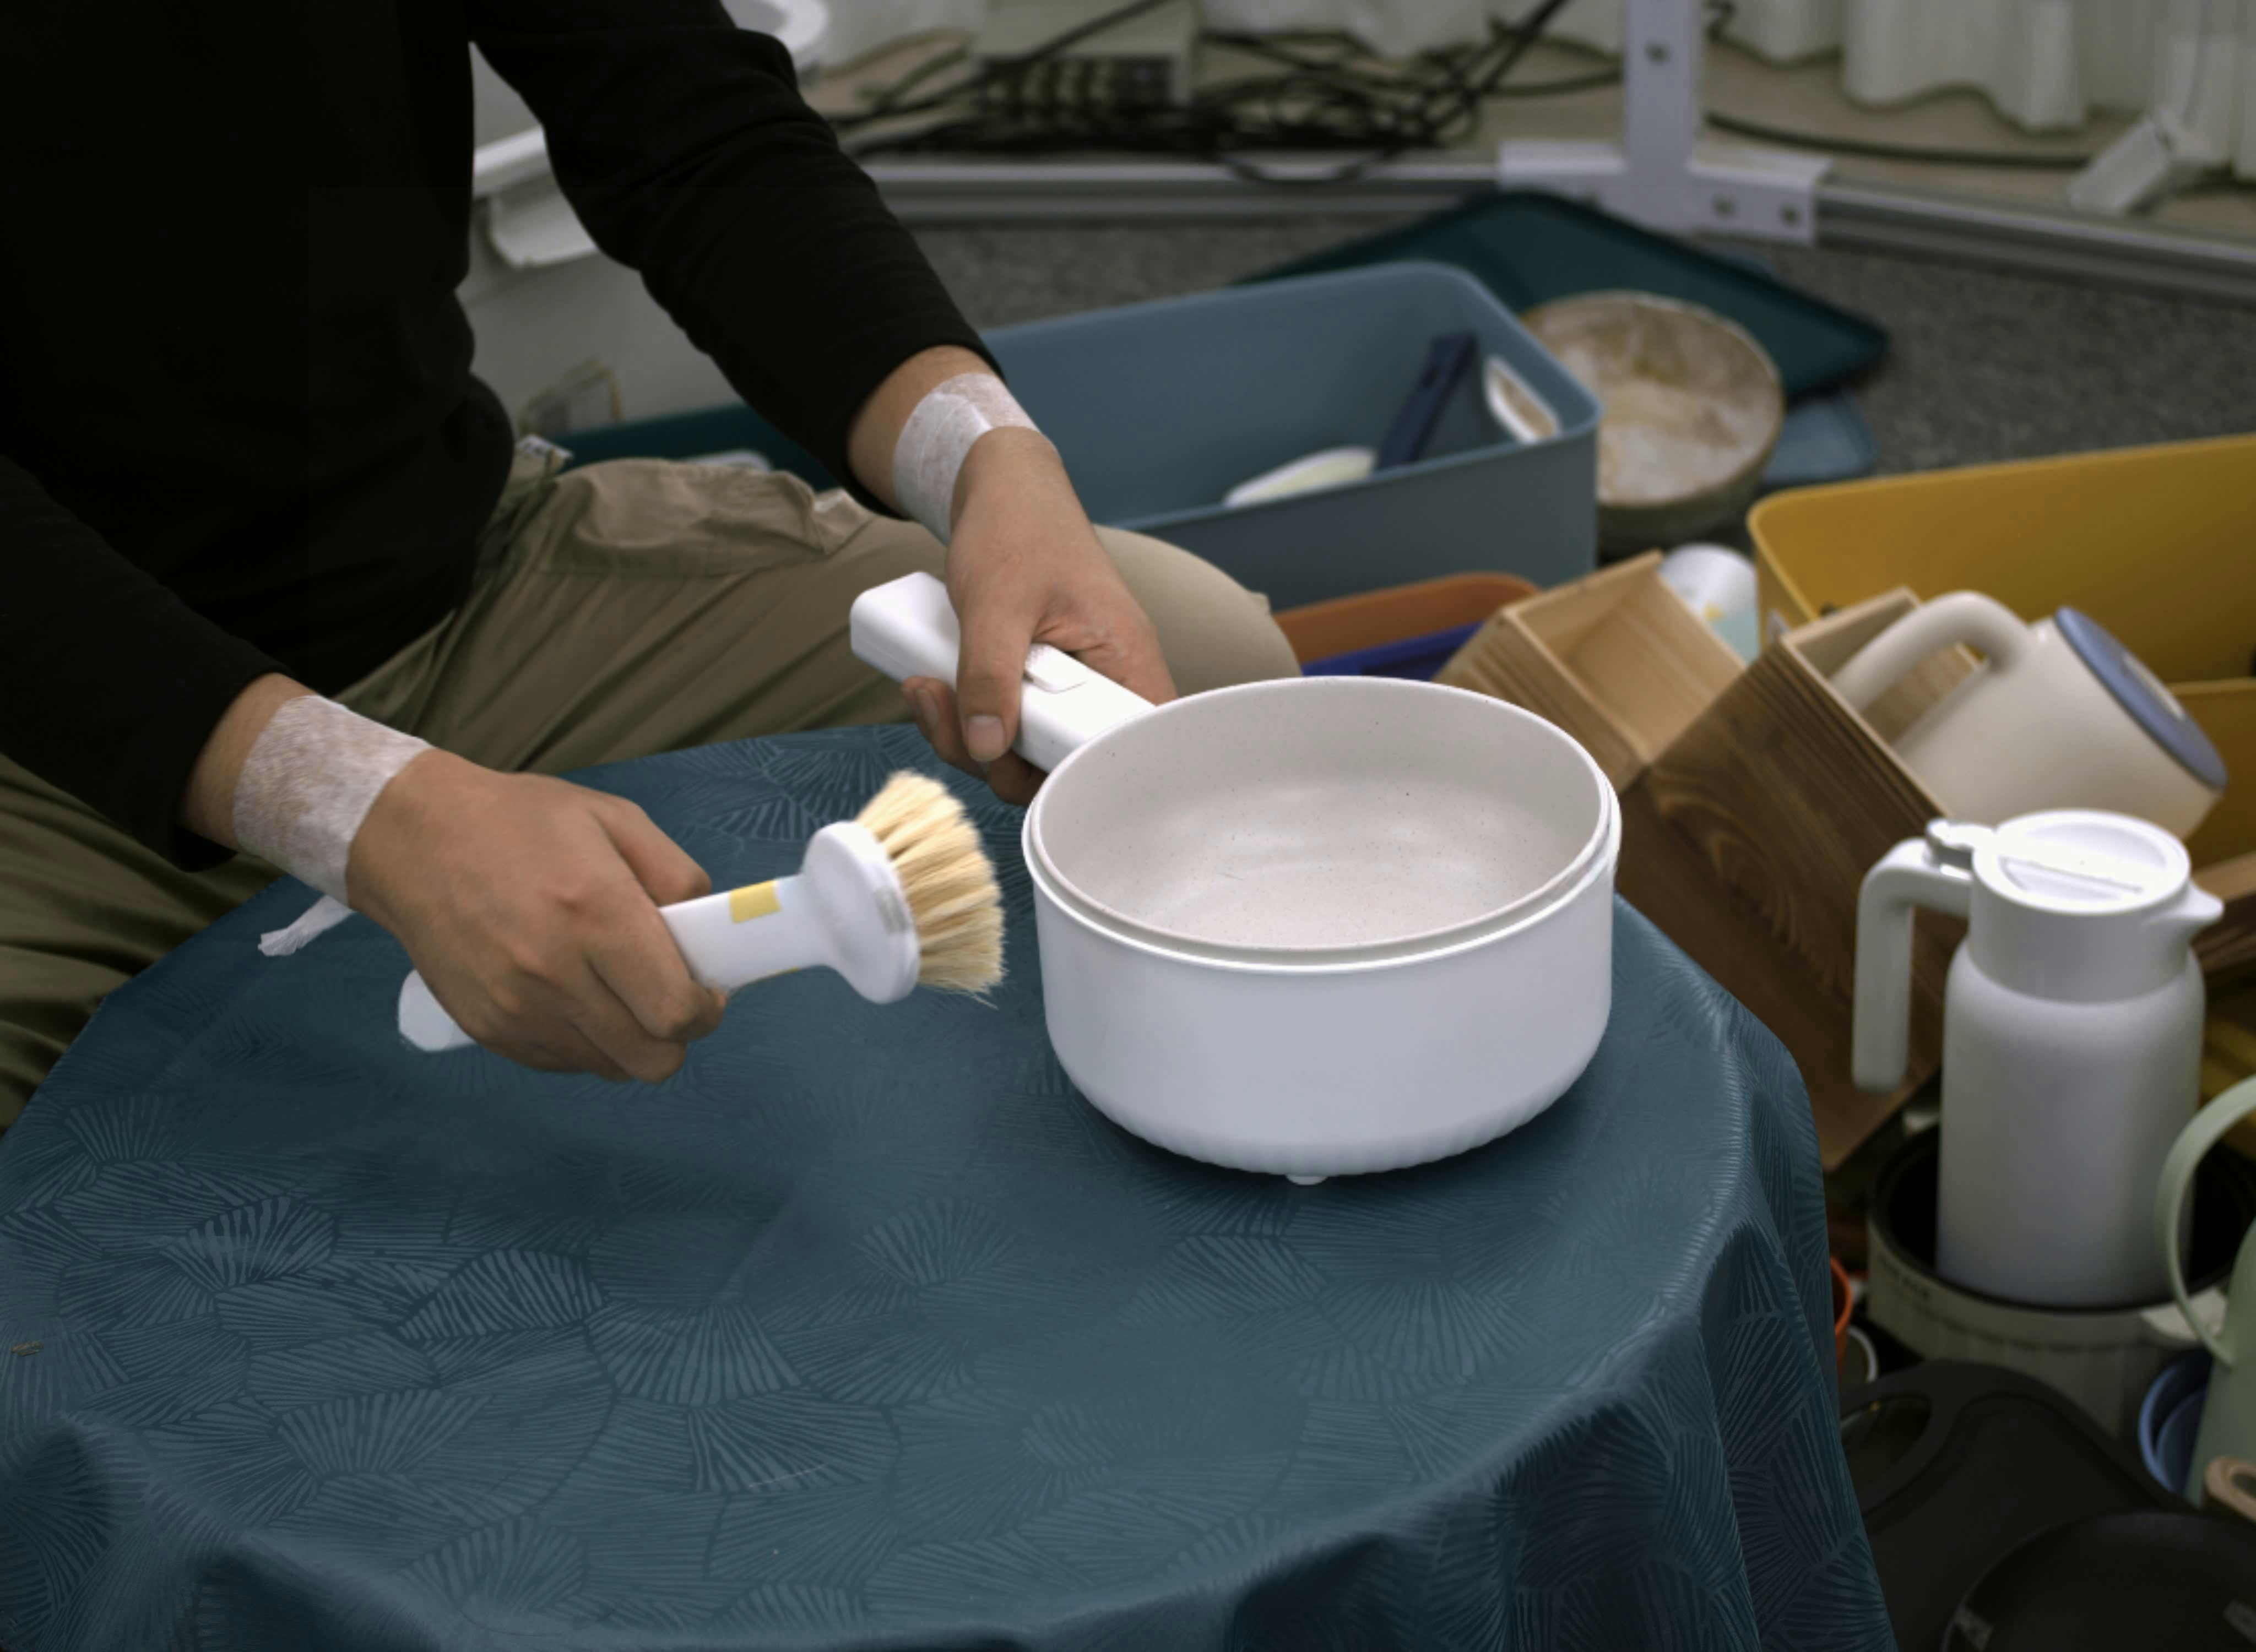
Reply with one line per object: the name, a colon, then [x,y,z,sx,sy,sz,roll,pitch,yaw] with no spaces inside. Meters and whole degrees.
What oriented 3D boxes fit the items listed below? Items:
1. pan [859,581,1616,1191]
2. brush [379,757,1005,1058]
pan: [0.021,0.014,1.965,0.203,0.101,0.355,-22,32,-31]
brush: [-0.141,0.035,1.831,0.263,0.069,0.056,-16,-4,41]
